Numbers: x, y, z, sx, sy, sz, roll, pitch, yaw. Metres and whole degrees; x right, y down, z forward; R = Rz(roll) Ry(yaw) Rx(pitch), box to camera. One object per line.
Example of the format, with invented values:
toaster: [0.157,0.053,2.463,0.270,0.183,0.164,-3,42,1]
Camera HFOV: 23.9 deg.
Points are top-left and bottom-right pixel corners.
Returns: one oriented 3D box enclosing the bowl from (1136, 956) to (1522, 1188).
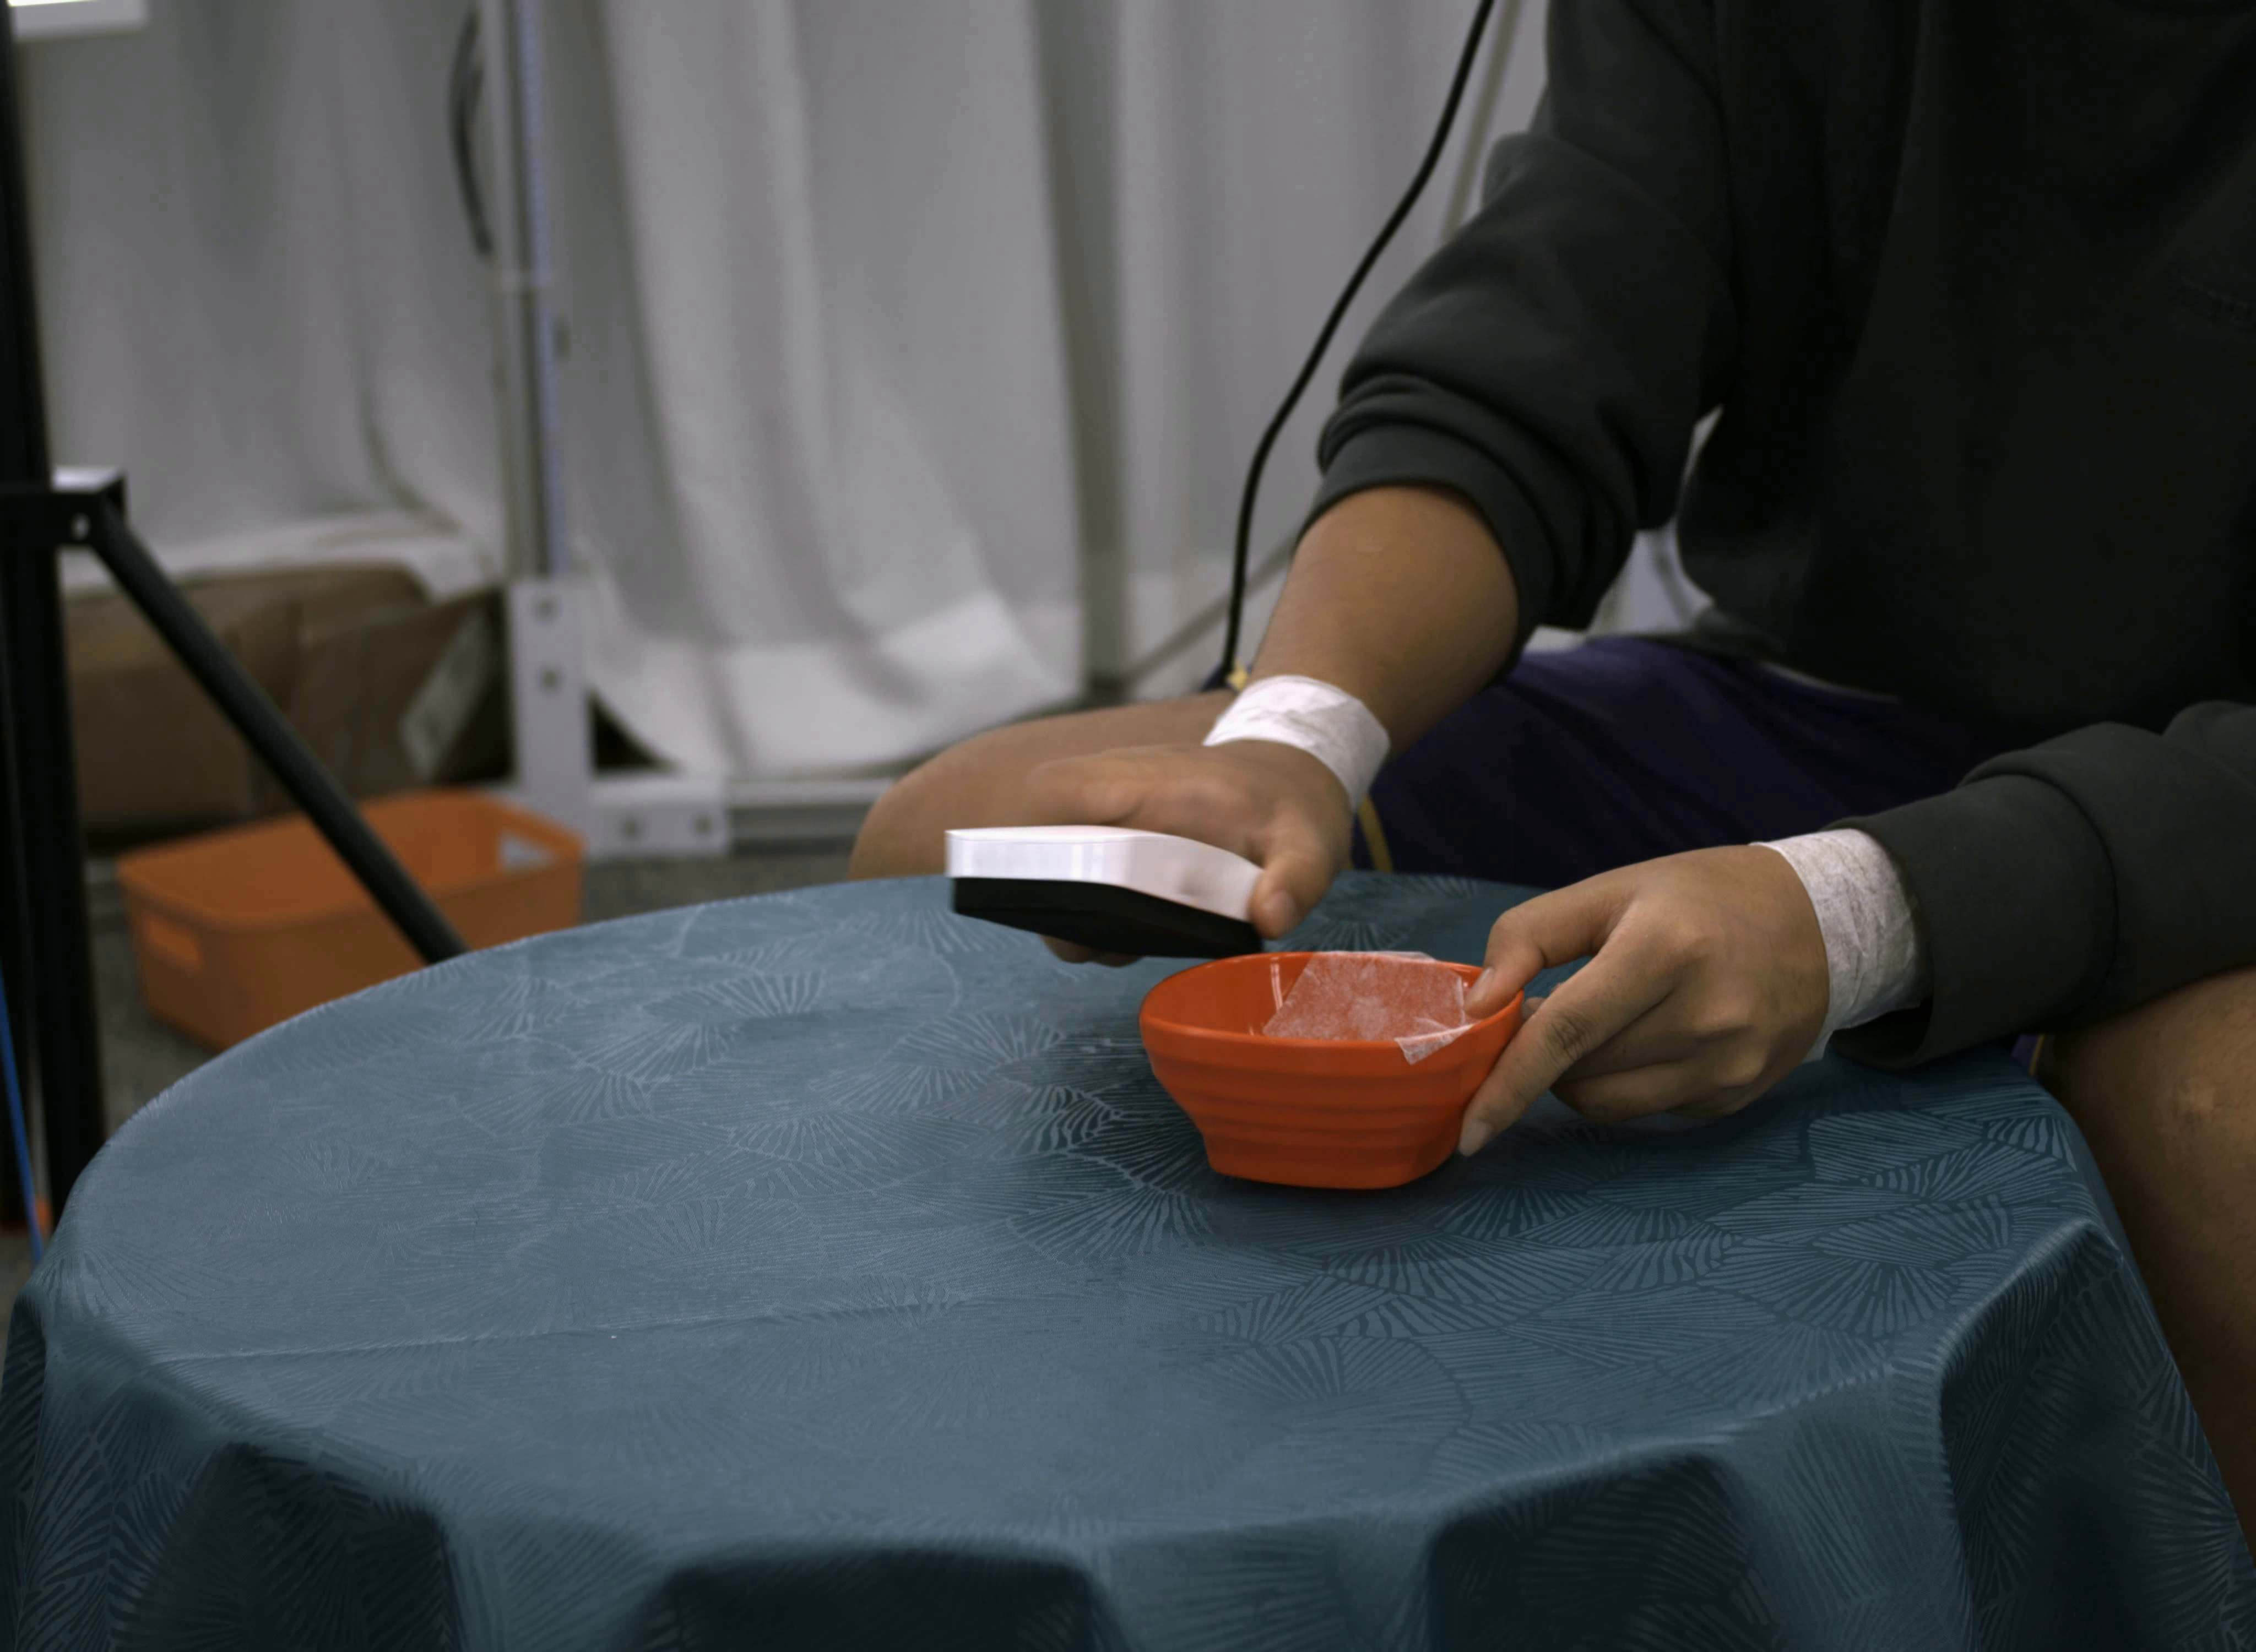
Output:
bowl: [0.060,0.074,1.568,0.118,0.051,0.119,-1,10,-1]

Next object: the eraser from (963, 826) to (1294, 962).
eraser: [0.002,0.019,1.617,0.064,0.035,0.128,4,-4,28]
